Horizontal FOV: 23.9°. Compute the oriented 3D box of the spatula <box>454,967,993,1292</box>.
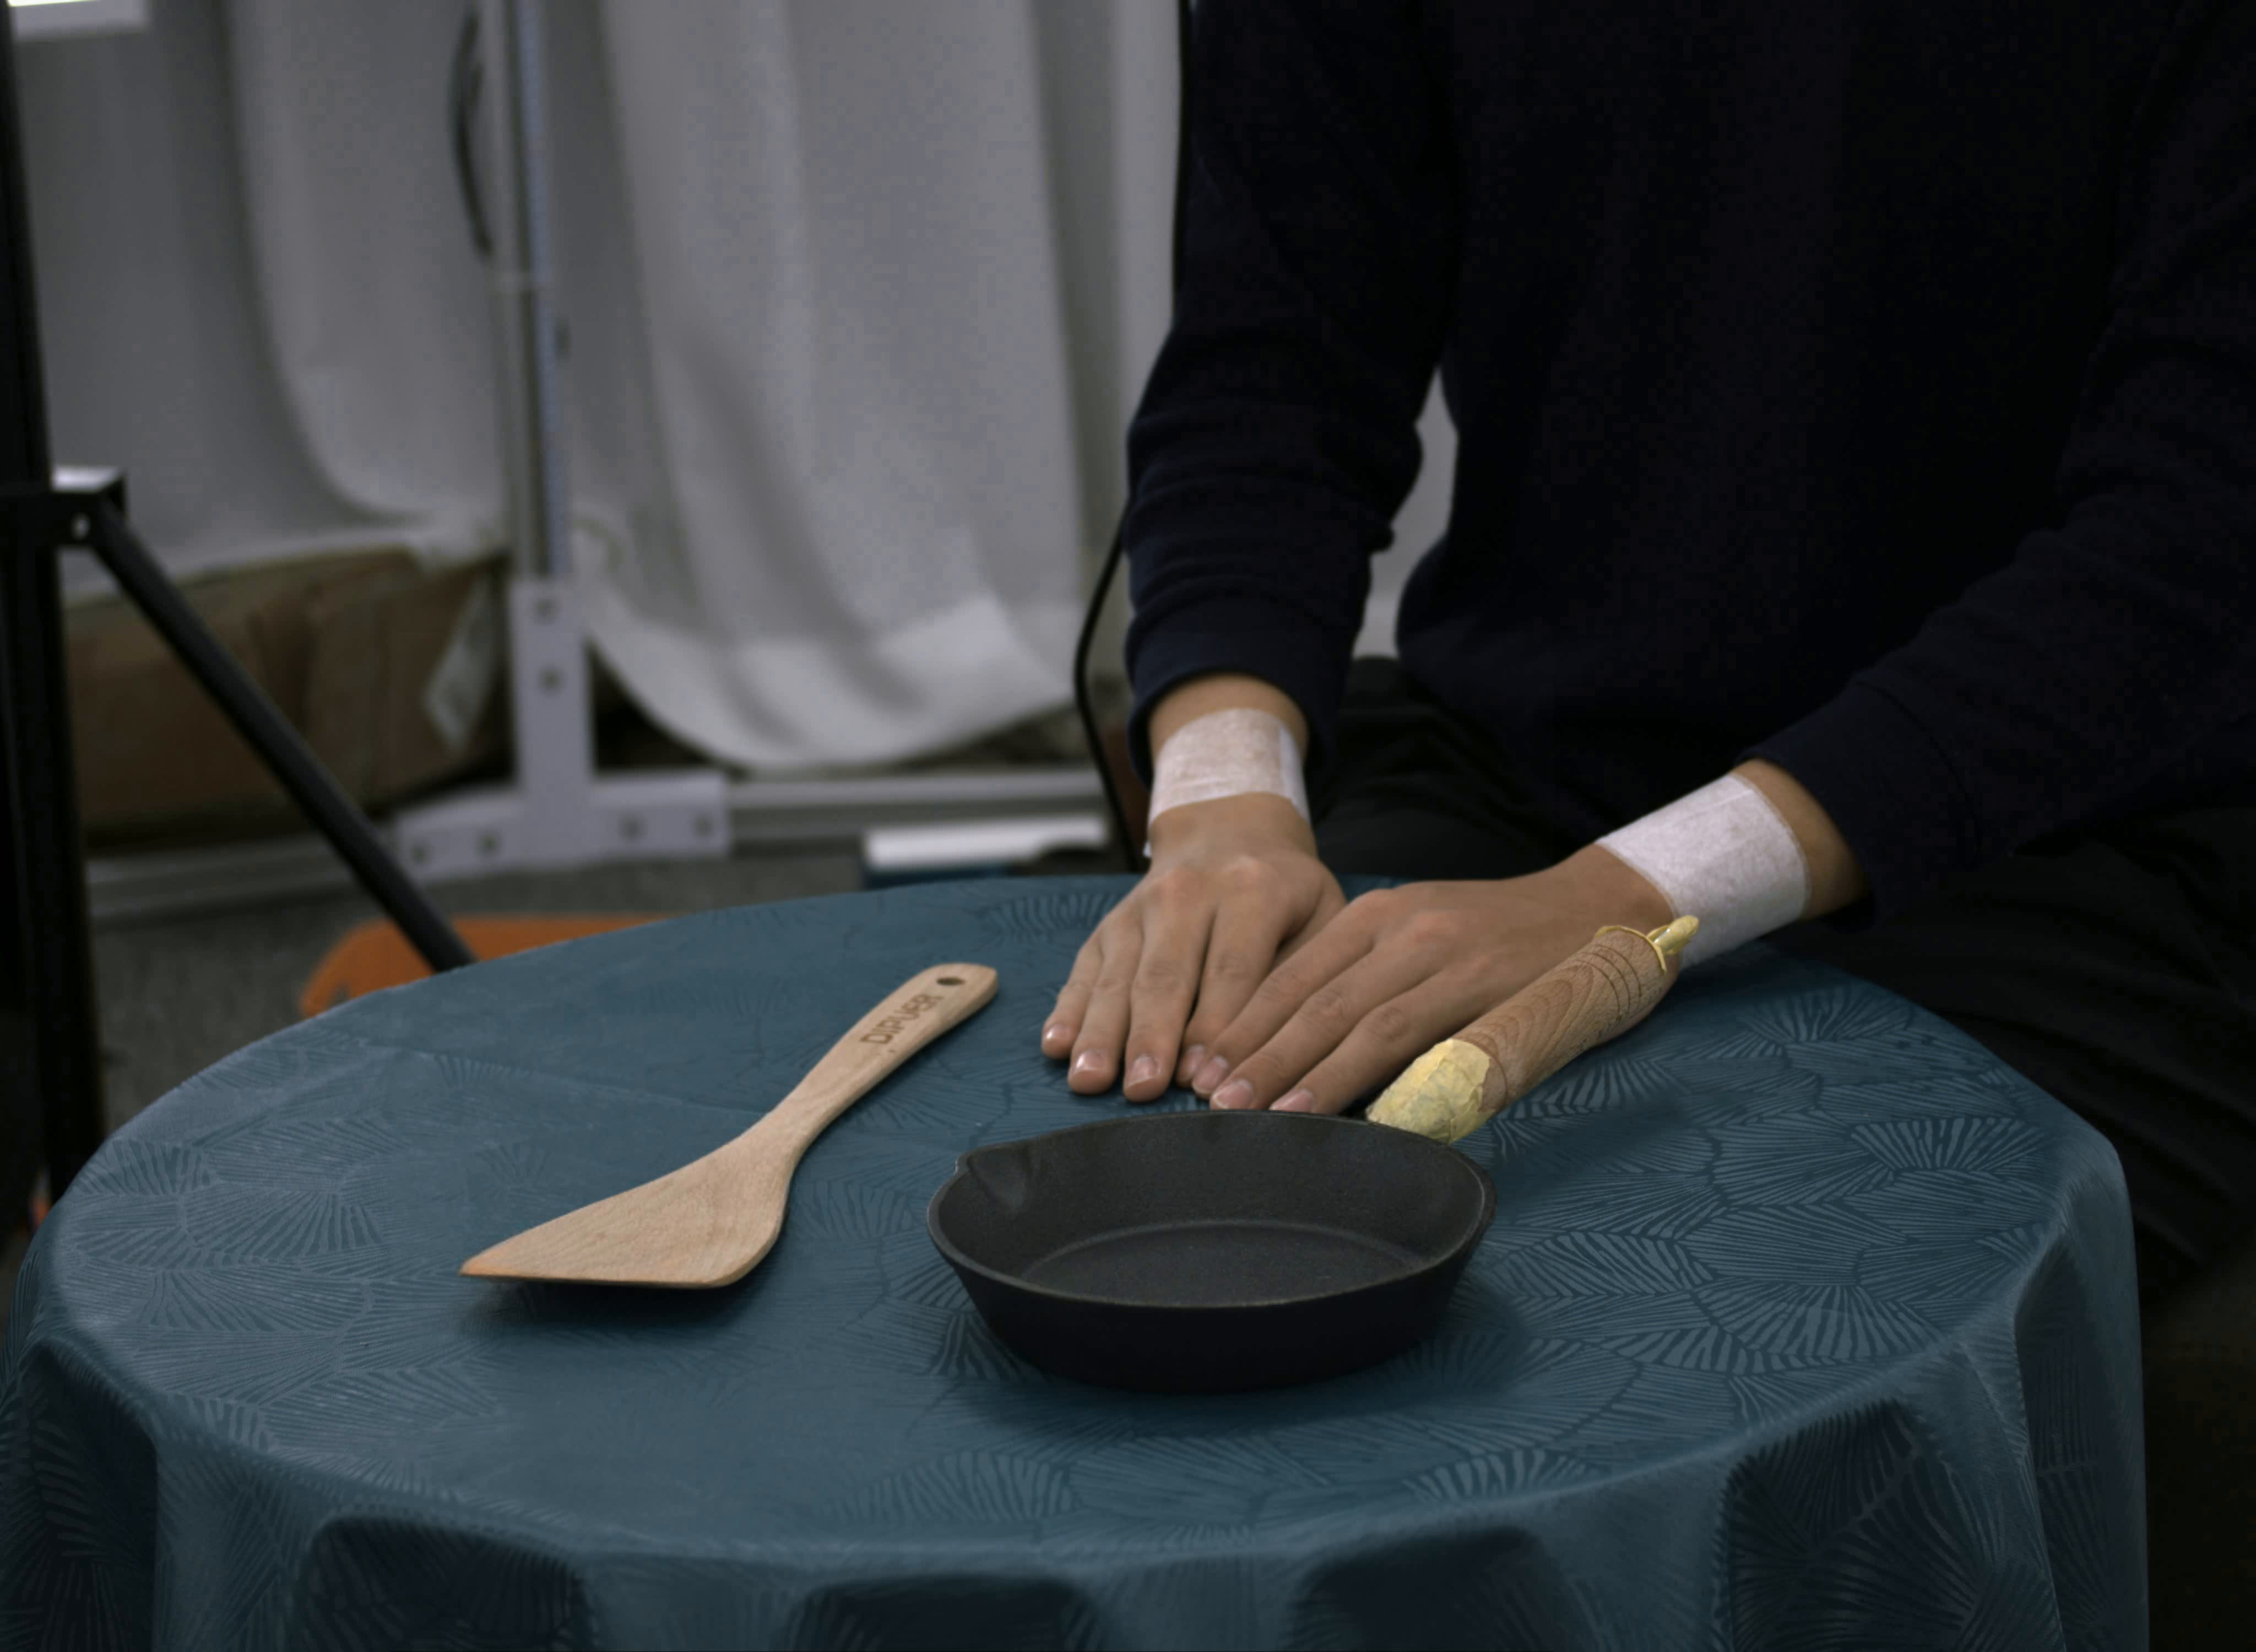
[{"bbox_3d":[-0.103,0.089,1.613,0.081,0.016,0.324,4,17,18],"label":"spatula"}]

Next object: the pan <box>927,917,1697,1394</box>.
[{"bbox_3d":[0.075,0.090,1.515,0.172,0.049,0.317,10,21,38],"label":"pan"}]
